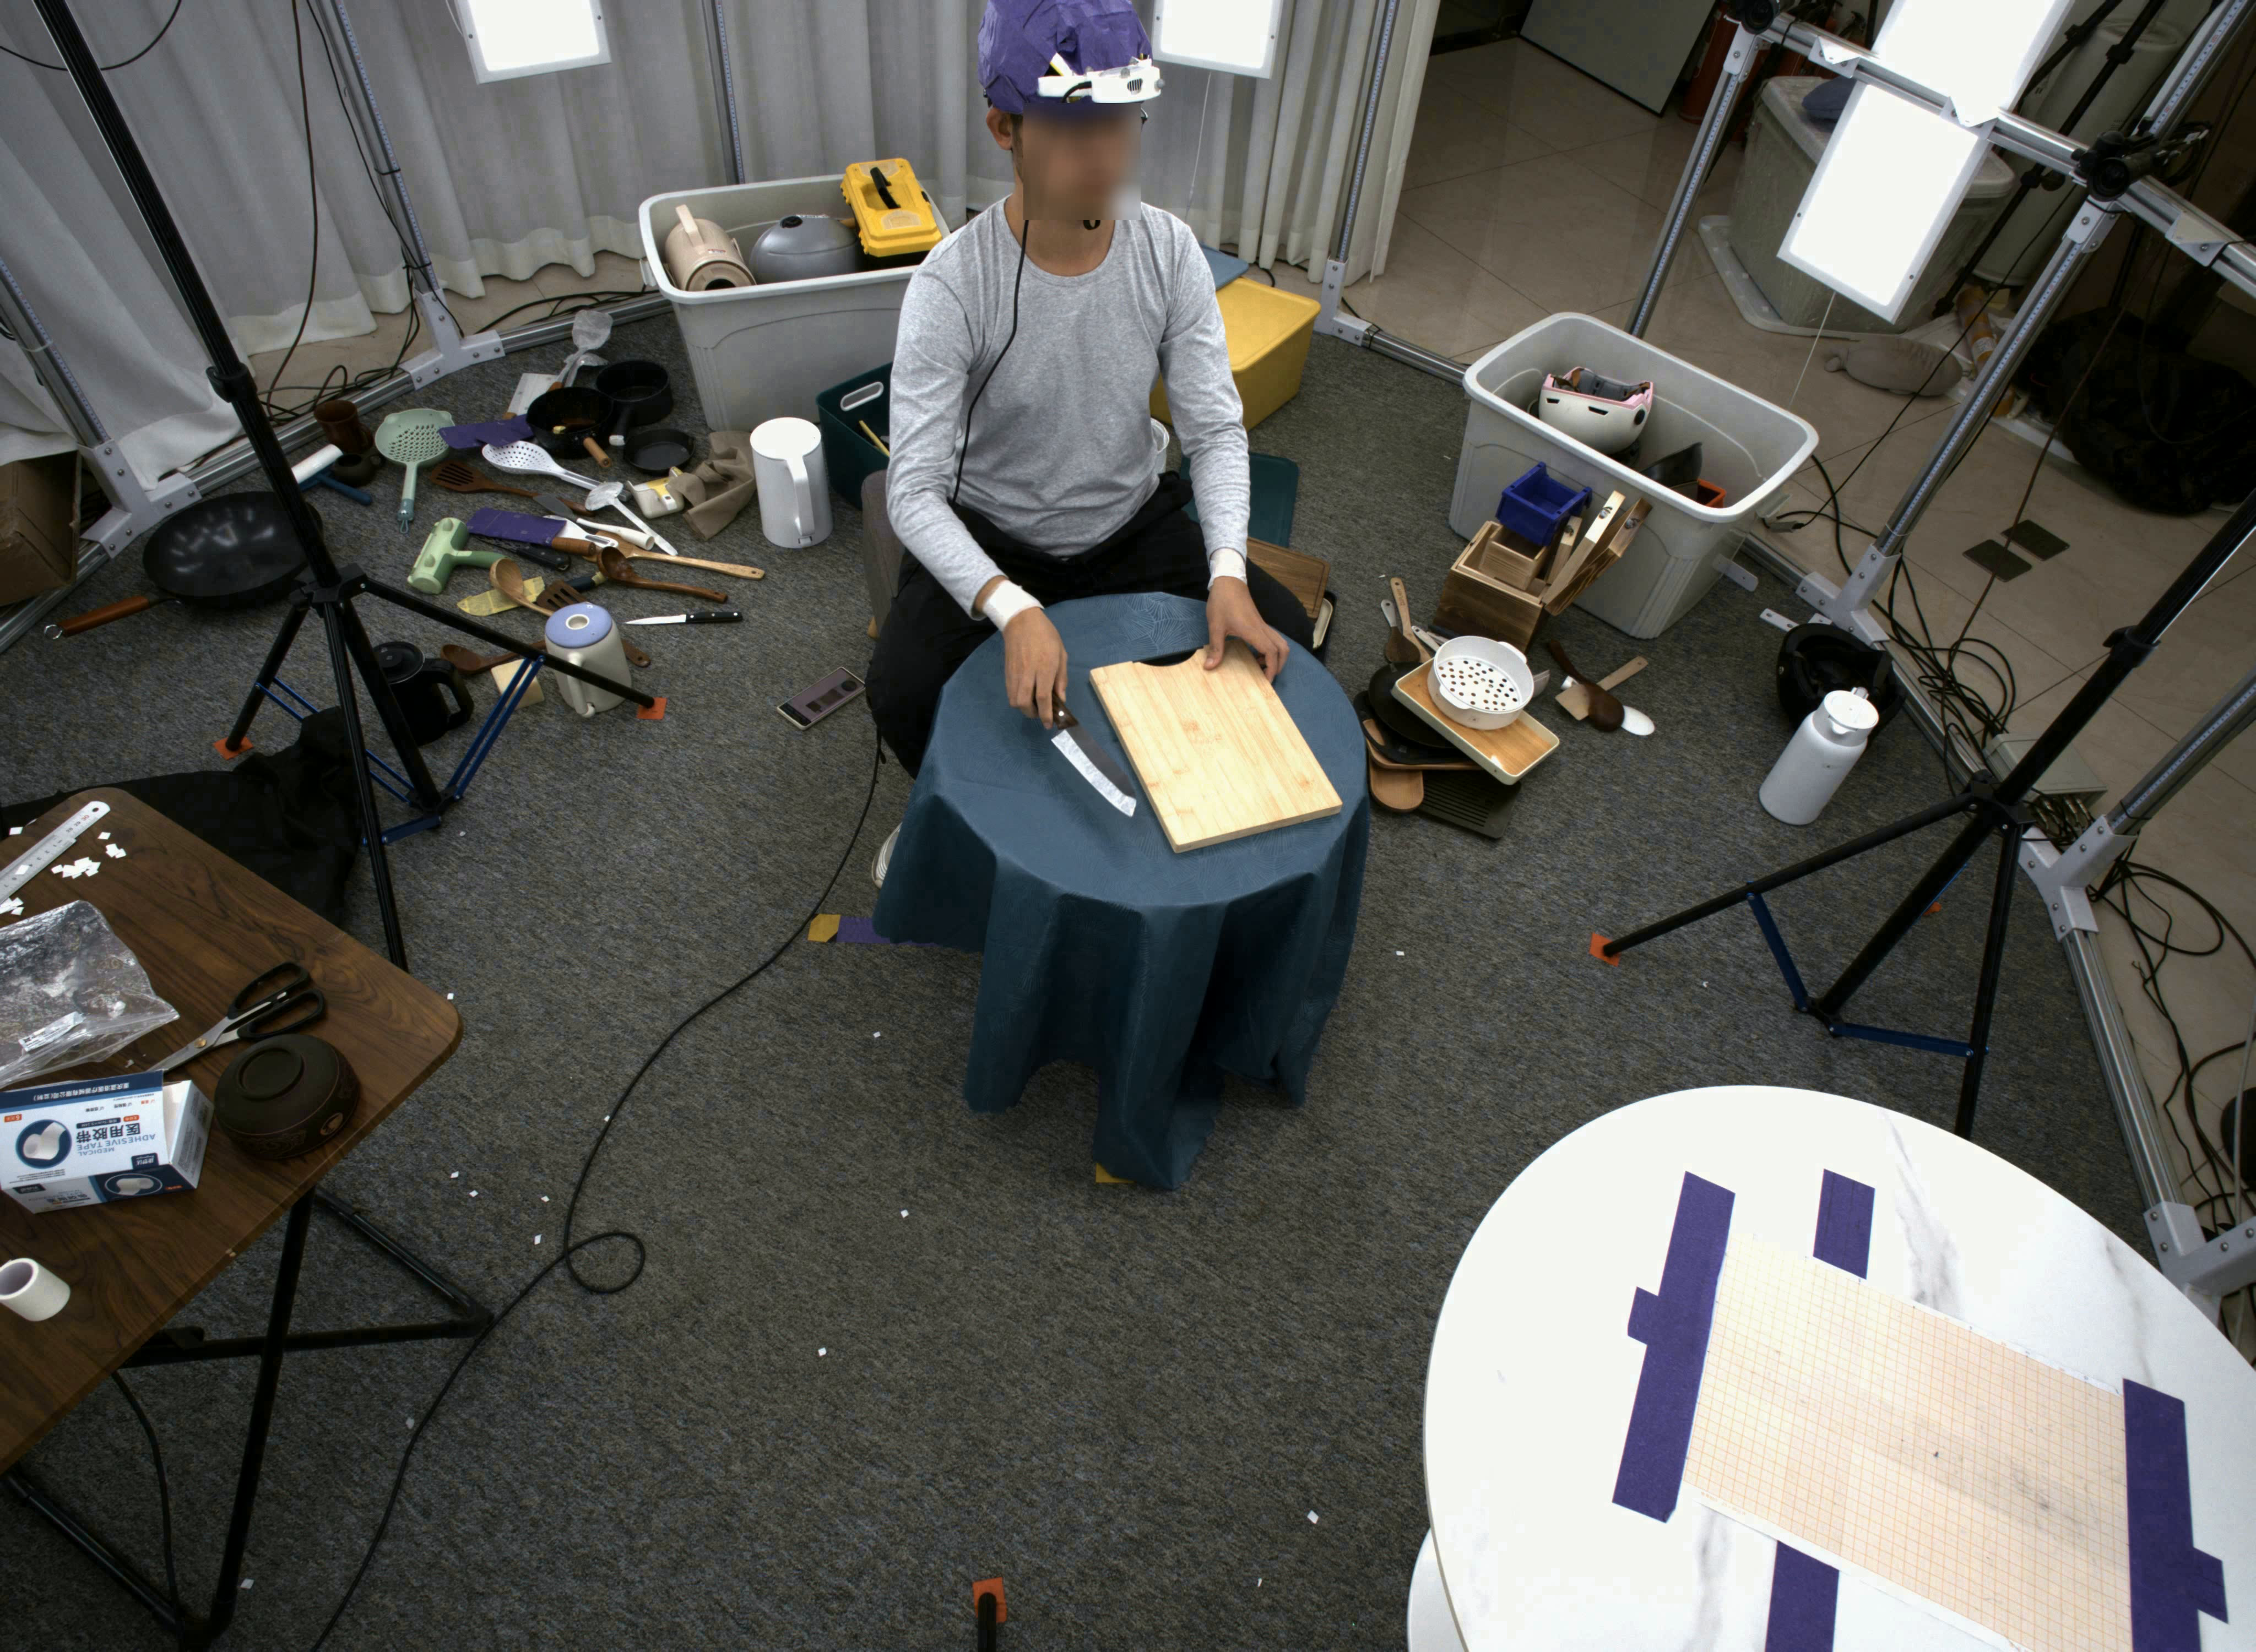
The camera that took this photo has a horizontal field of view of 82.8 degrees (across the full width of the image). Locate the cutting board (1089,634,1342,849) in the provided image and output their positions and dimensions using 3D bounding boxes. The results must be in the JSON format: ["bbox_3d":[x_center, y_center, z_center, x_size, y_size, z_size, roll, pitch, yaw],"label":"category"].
[{"bbox_3d":[0.113,-0.125,1.773,0.251,0.023,0.357,-13,51,-16],"label":"cutting board"}]

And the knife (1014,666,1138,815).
[{"bbox_3d":[-0.070,-0.115,1.684,0.050,0.019,0.295,-39,59,0],"label":"knife"}]
